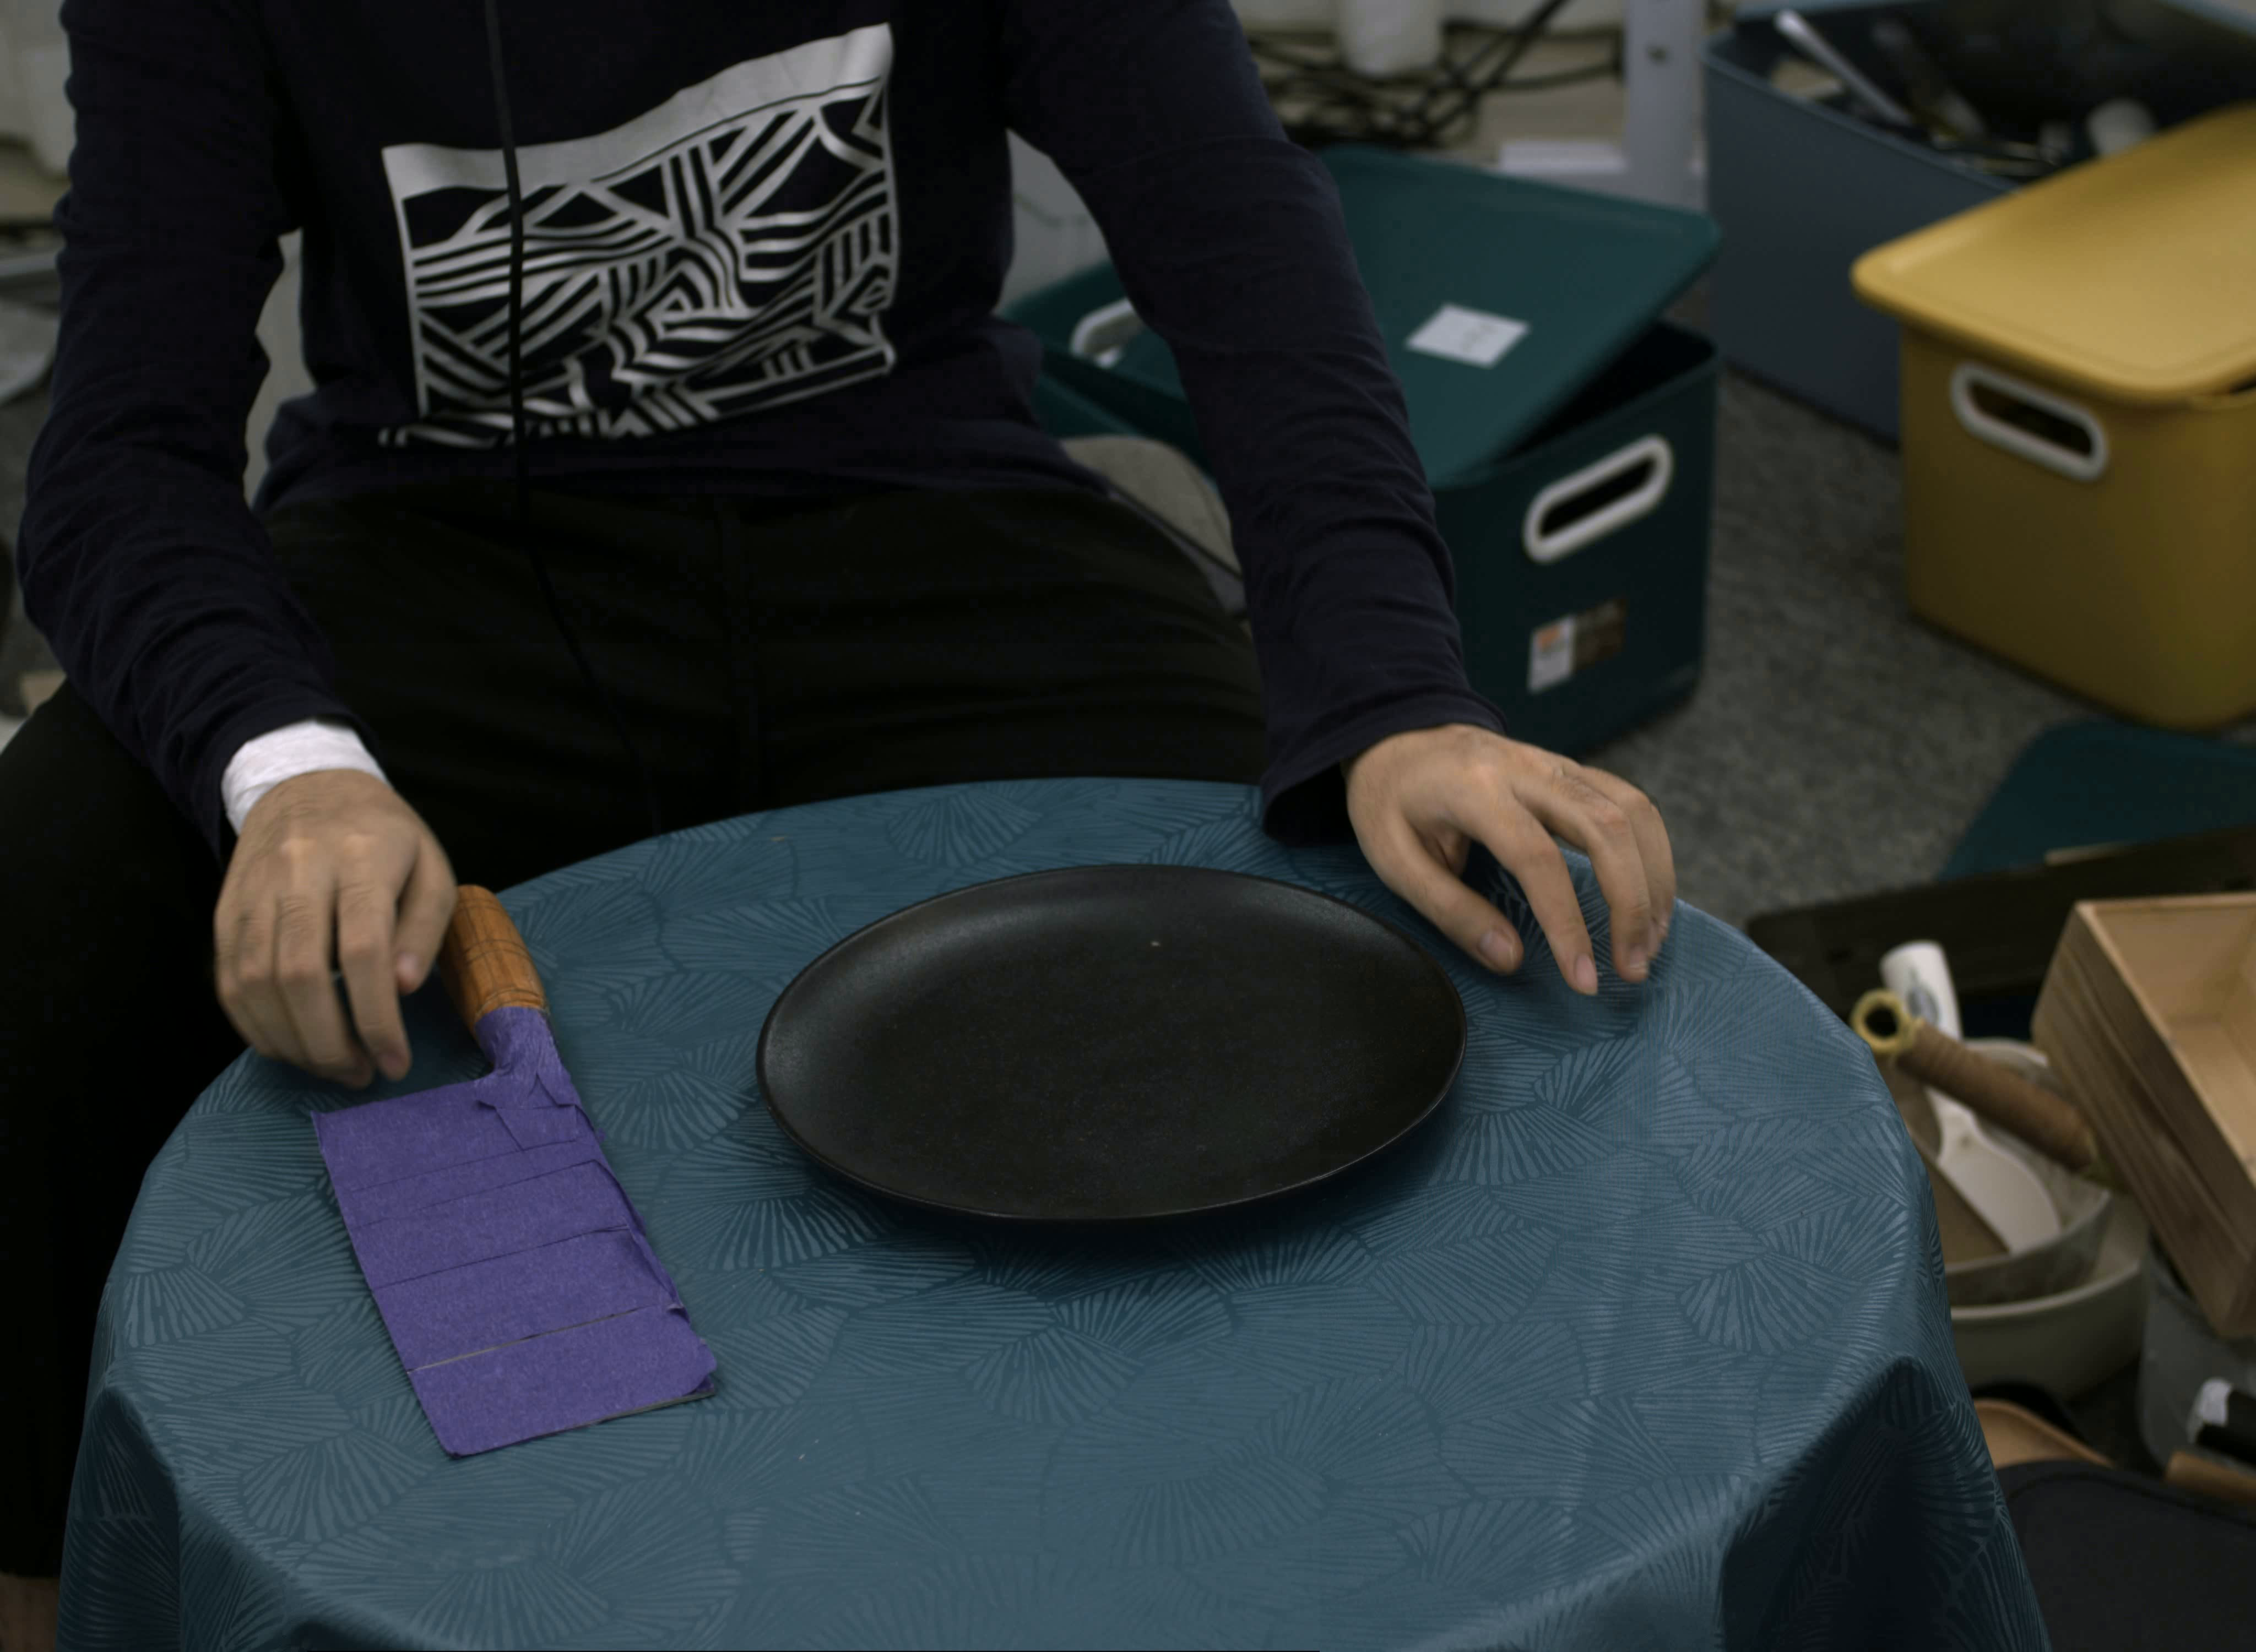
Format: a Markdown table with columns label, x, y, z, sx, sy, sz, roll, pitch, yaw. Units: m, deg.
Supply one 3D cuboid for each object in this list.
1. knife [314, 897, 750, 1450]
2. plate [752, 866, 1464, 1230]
| label | x | y | z | sx | sy | sz | roll | pitch | yaw |
| --- | --- | --- | --- | --- | --- | --- | --- | --- | --- |
| knife | -0.218 | 0.111 | 1.873 | 0.104 | 0.032 | 0.318 | -11 | 29 | -16 |
| plate | -0.007 | 0.080 | 1.919 | 0.243 | 0.023 | 0.248 | -2 | 27 | 1 |
